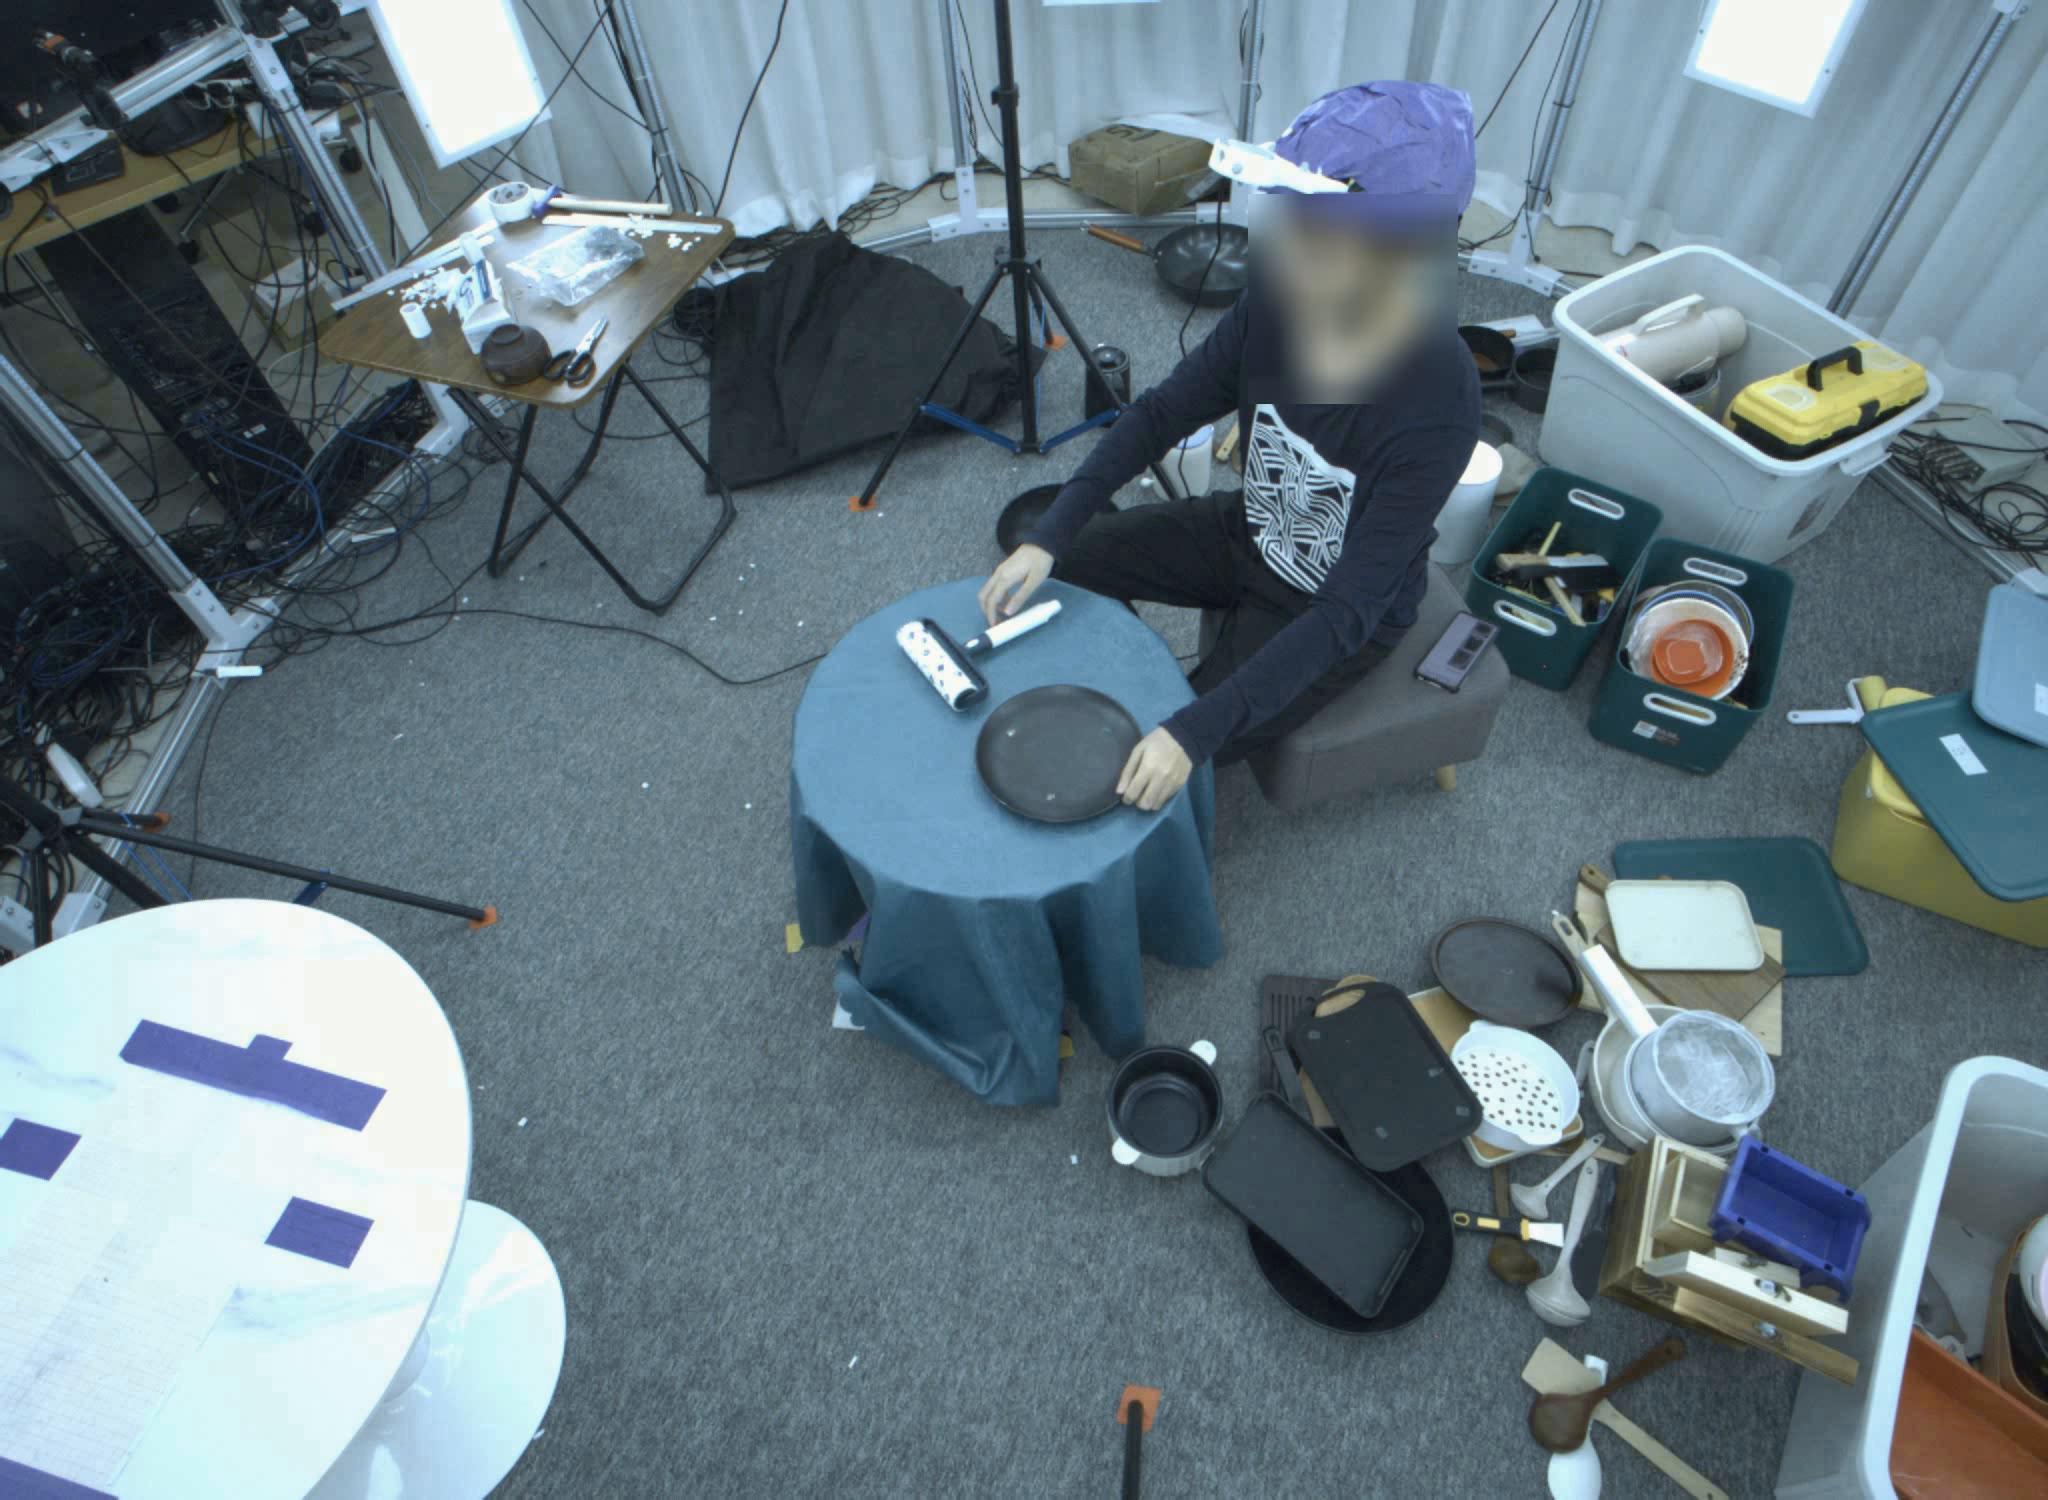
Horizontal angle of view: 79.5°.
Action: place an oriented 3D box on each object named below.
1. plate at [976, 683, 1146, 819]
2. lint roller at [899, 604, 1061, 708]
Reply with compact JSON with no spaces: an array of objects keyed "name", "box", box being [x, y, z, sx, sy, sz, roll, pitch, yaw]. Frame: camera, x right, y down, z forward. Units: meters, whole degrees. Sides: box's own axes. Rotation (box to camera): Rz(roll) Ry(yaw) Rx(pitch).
[{"name":"plate","box":[0.053,0.003,1.776,0.244,0.024,0.242,-1,54,2]},{"name":"lint roller","box":[-0.049,-0.176,1.897,0.249,0.051,0.173,-29,58,-21]}]
